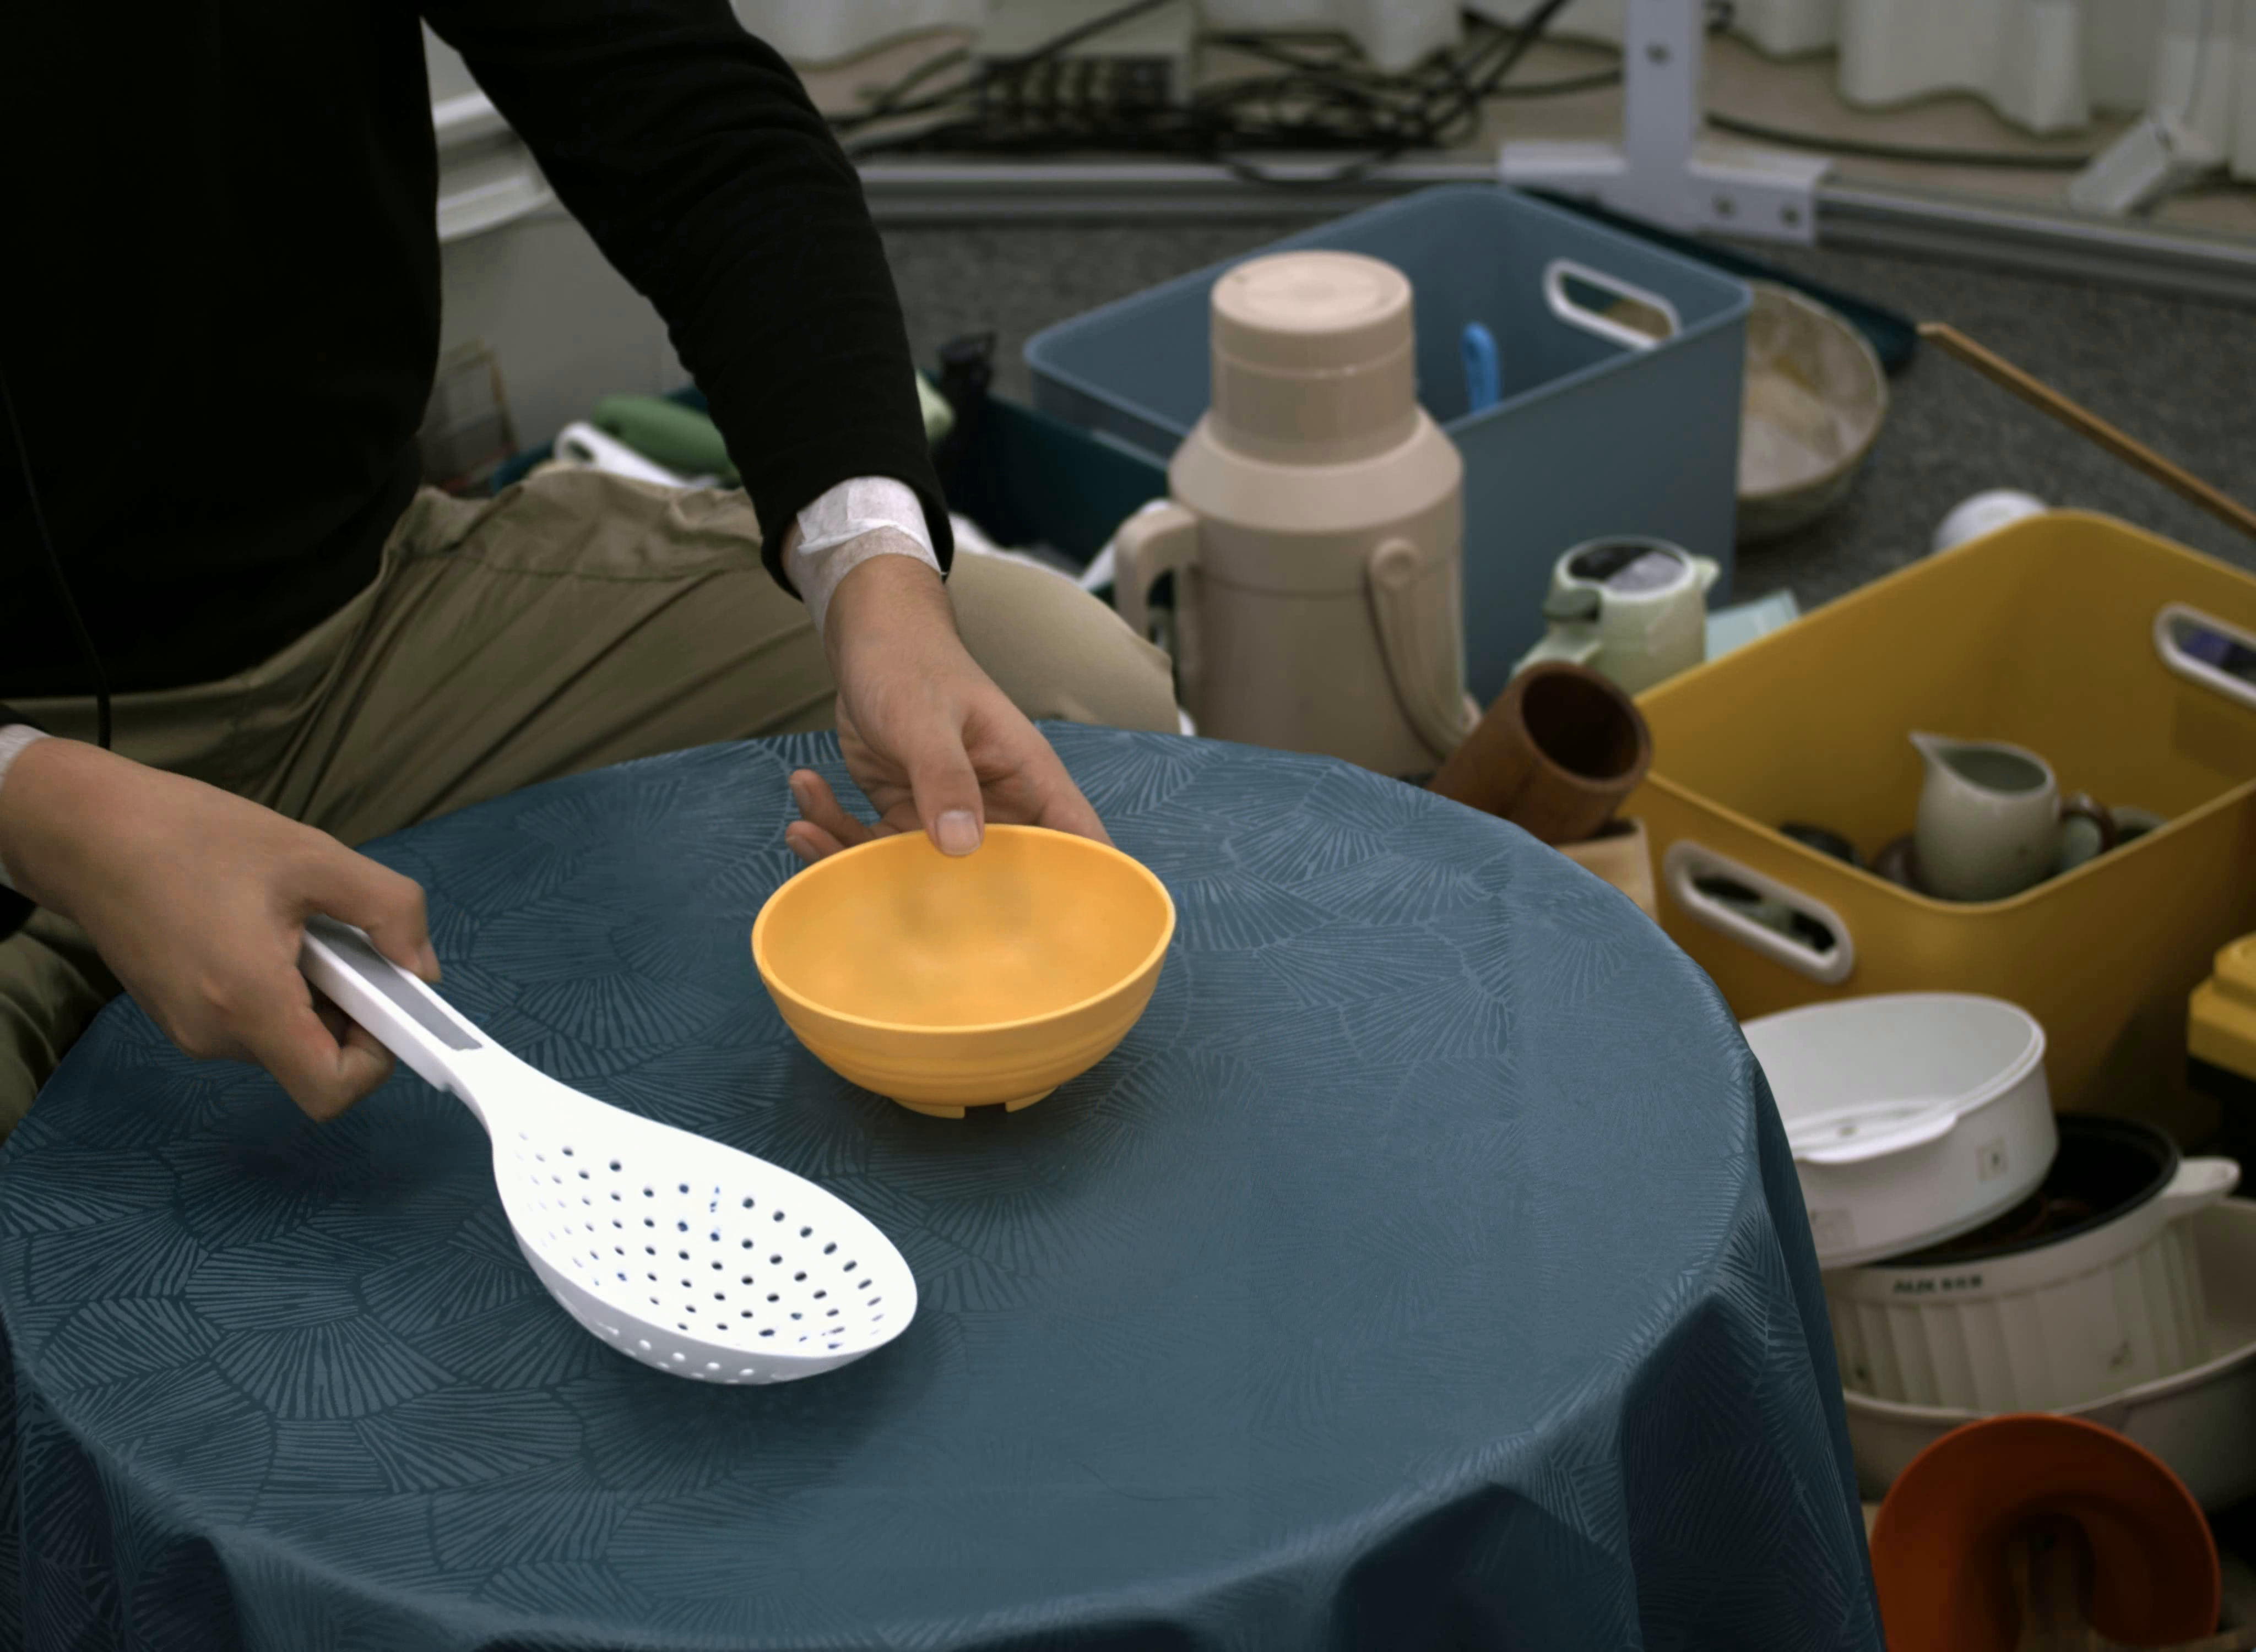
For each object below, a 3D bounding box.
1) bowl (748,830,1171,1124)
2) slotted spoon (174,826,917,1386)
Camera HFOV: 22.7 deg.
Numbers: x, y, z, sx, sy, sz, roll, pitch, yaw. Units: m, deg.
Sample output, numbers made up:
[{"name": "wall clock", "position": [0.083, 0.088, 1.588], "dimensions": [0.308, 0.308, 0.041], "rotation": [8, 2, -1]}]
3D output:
[{"name": "bowl", "position": [-0.057, 0.060, 1.925], "dimensions": [0.144, 0.059, 0.147], "rotation": [-1, 27, 1]}, {"name": "slotted spoon", "position": [-0.205, 0.087, 1.830], "dimensions": [0.137, 0.045, 0.351], "rotation": [-4, 35, -47]}]
